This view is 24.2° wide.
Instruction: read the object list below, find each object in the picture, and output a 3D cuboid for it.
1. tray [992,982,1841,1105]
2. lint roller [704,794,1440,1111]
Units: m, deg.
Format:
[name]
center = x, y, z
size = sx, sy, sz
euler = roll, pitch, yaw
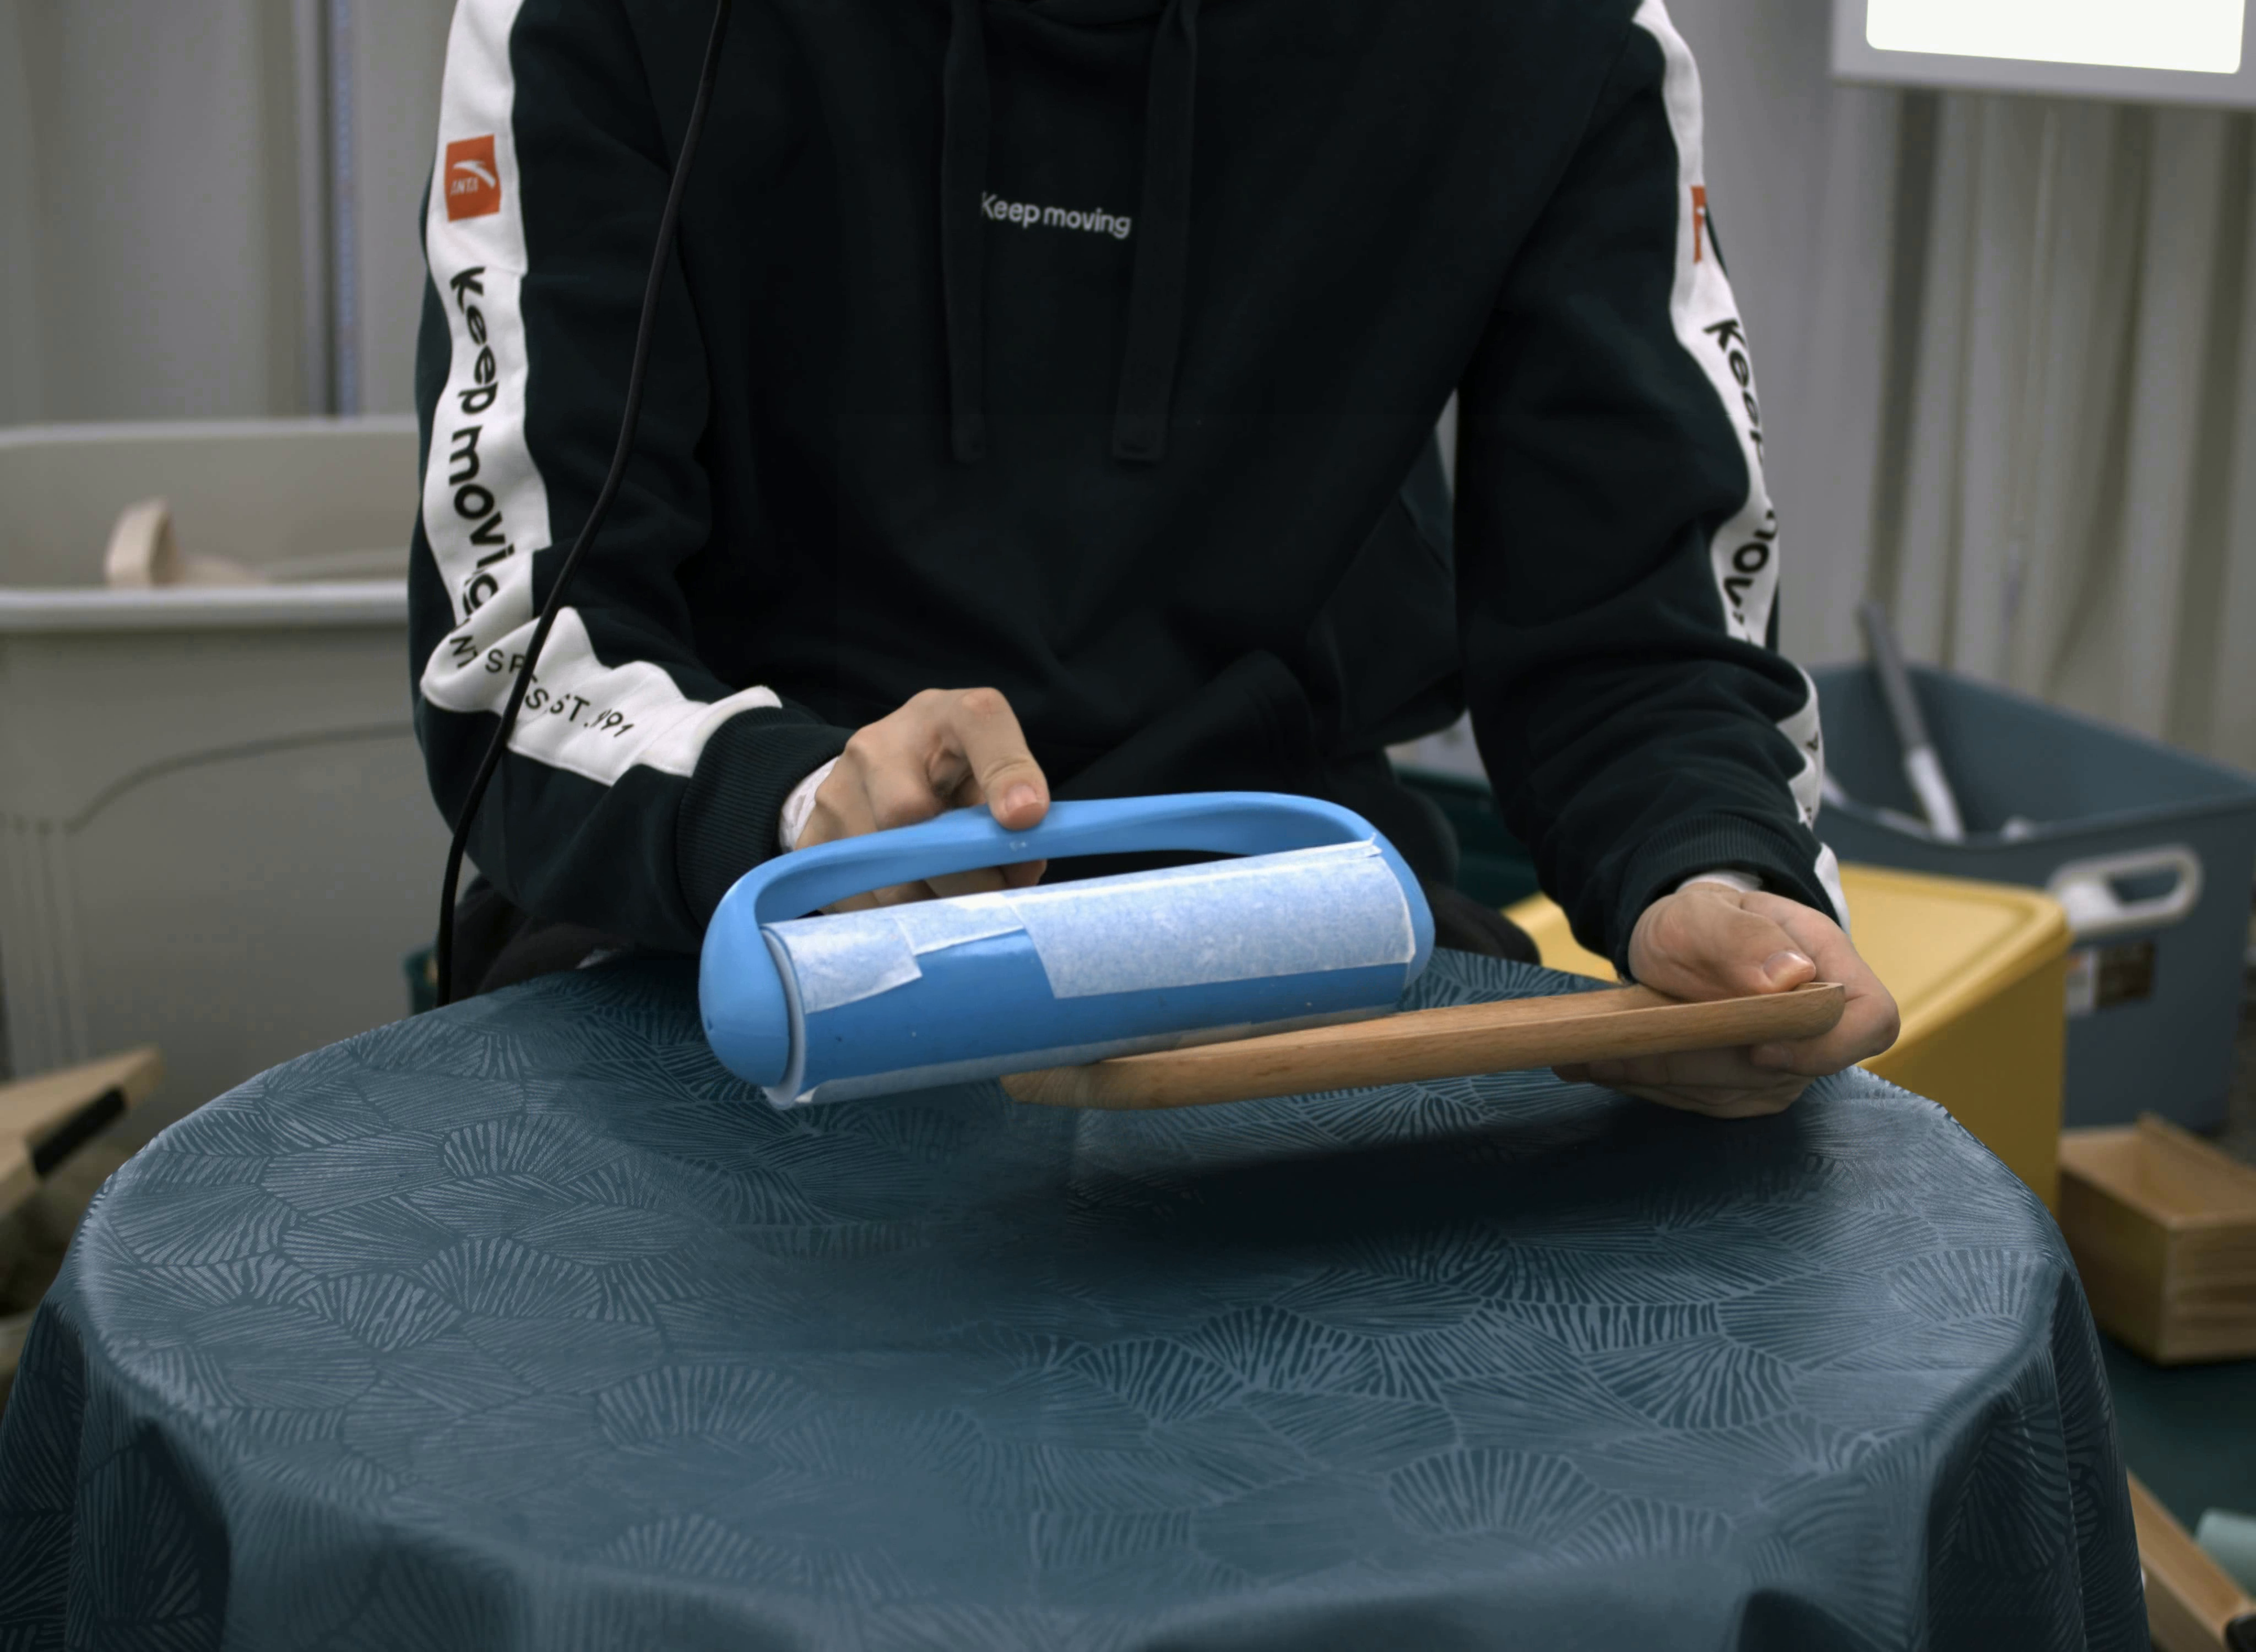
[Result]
[tray]
center = 0.089, 0.066, 1.609
size = 0.251, 0.023, 0.130
euler = -5, -2, -22
[lint roller]
center = -0.040, 0.026, 1.577
size = 0.230, 0.068, 0.178
euler = -10, 20, -26
